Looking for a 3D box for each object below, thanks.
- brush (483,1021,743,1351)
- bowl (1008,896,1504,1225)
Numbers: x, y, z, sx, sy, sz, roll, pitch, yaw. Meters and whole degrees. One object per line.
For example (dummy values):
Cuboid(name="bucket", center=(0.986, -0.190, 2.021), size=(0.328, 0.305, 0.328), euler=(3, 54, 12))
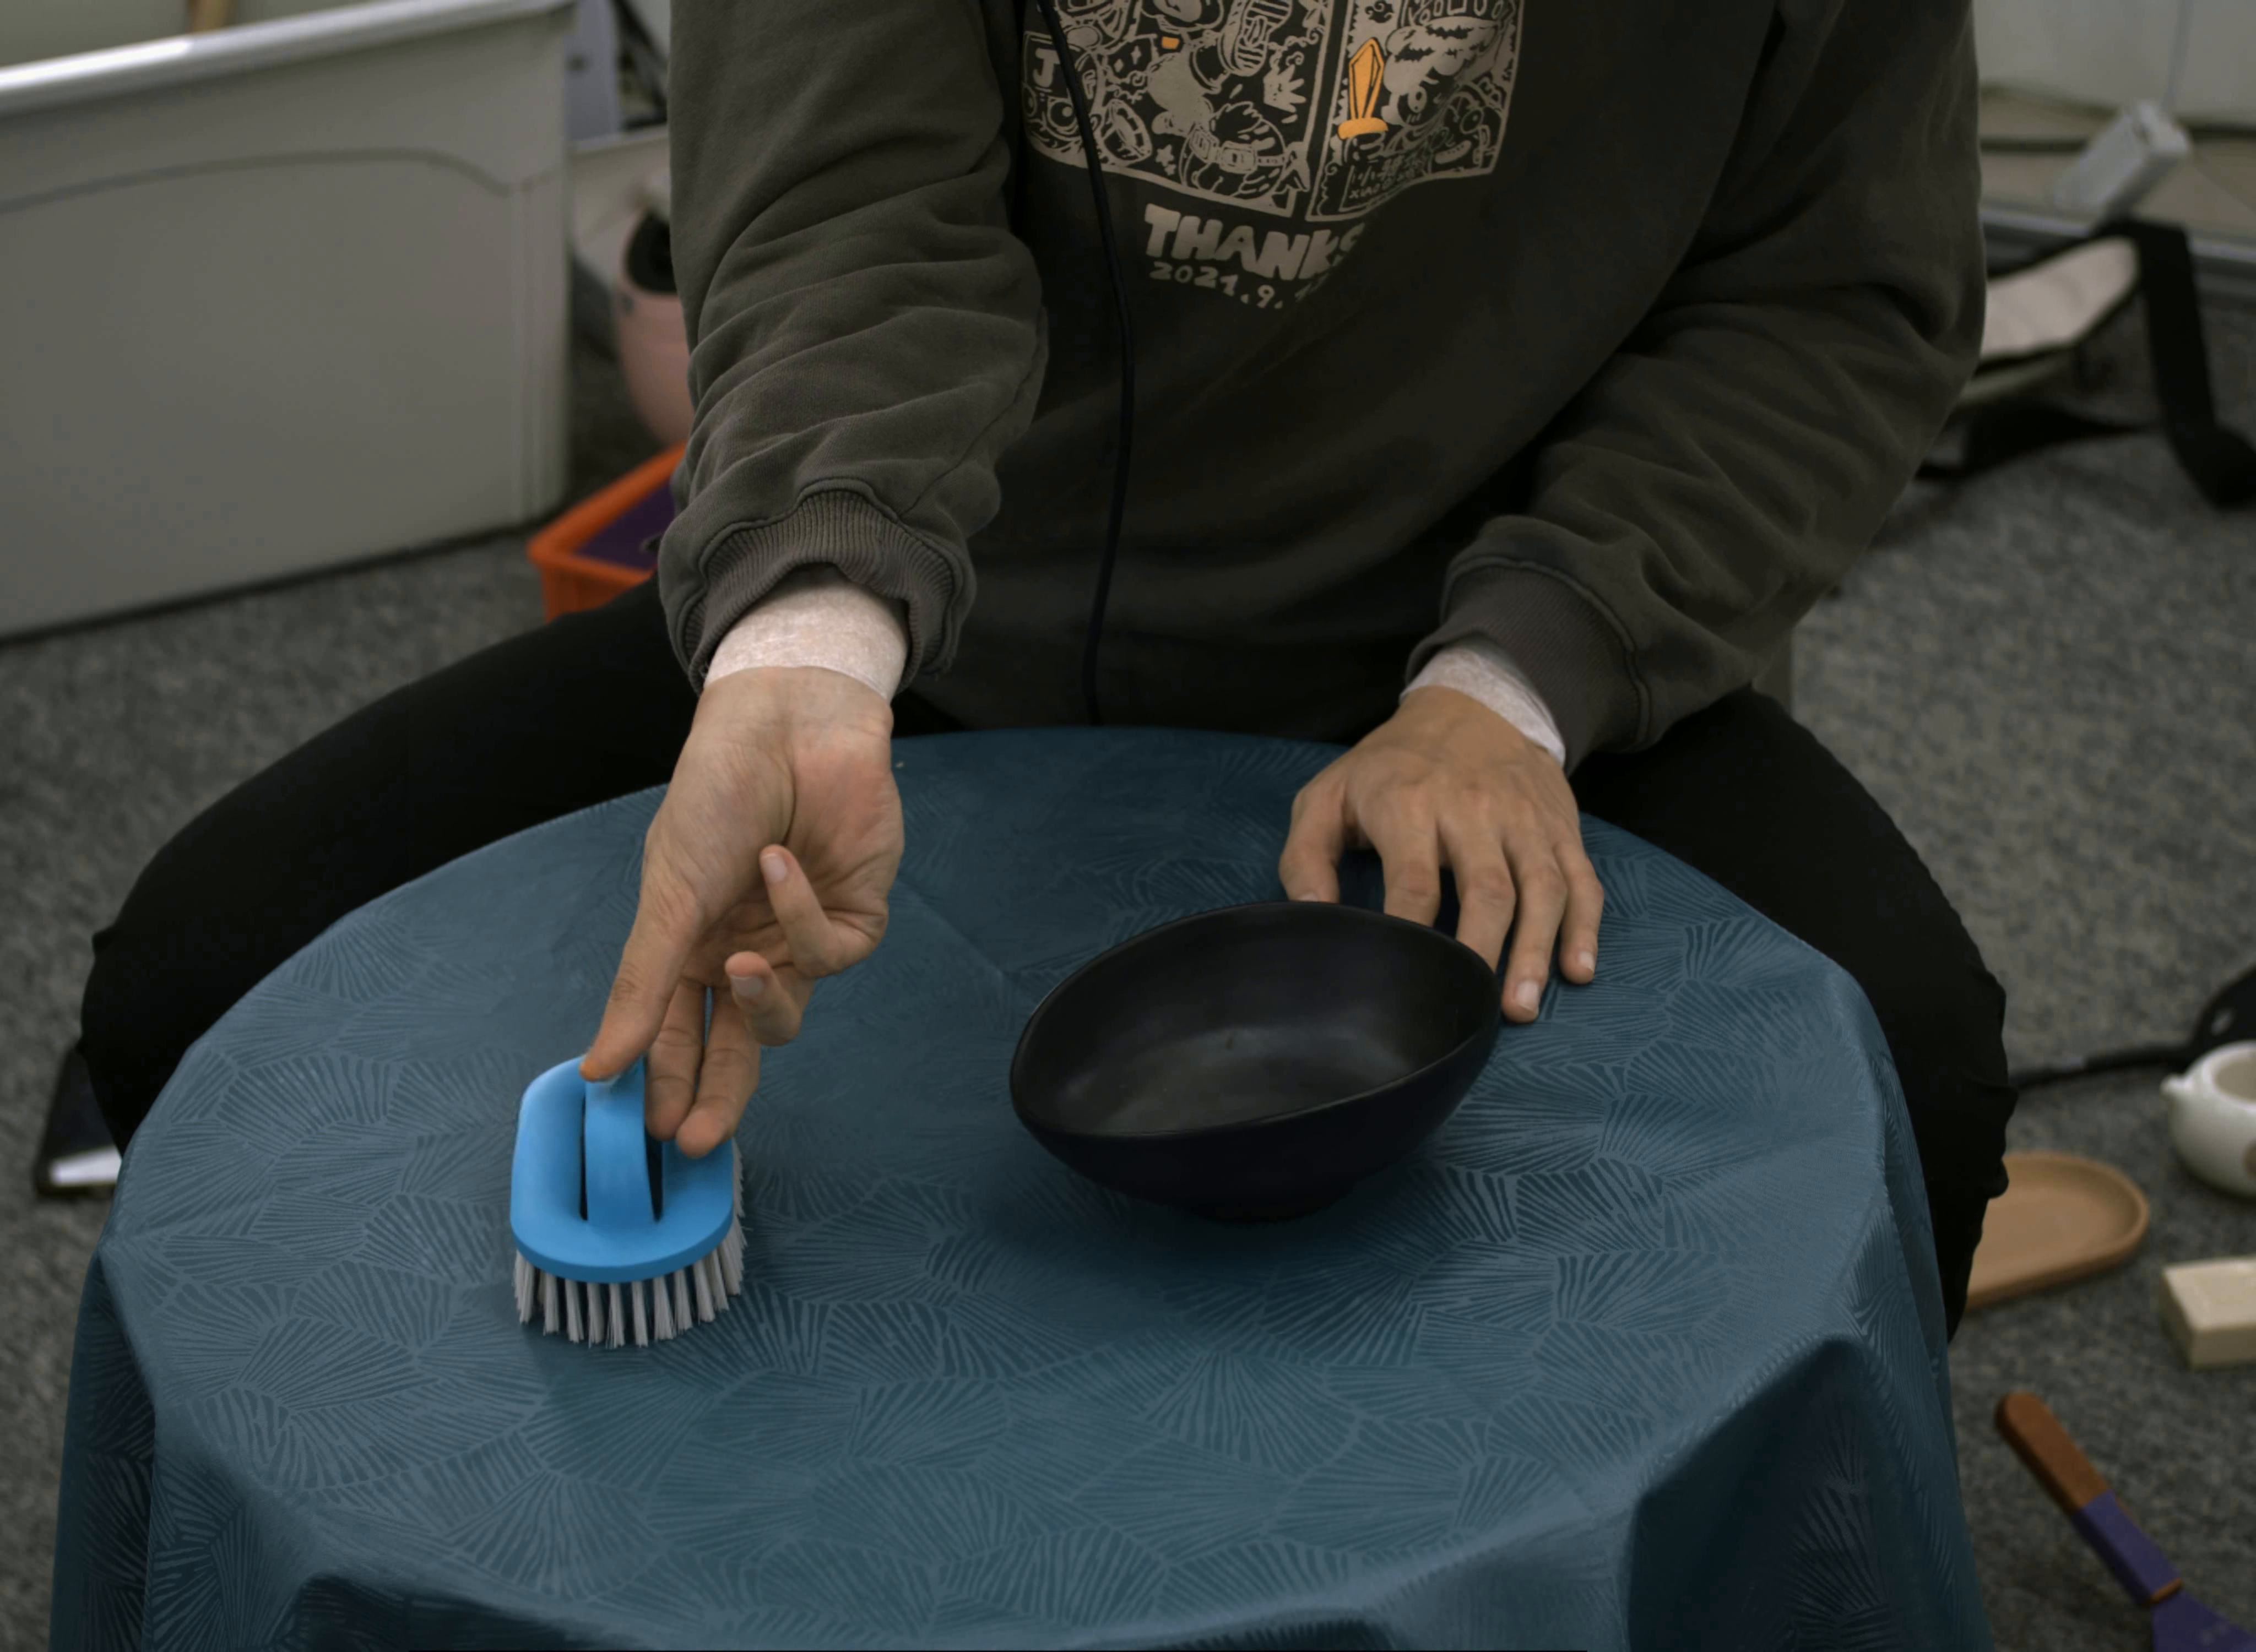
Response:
Cuboid(name="brush", center=(-0.168, 0.107, 1.834), size=(0.084, 0.063, 0.144), euler=(1, 28, -3))
Cuboid(name="bowl", center=(0.045, 0.088, 1.854), size=(0.171, 0.066, 0.138), euler=(-17, 30, -22))
